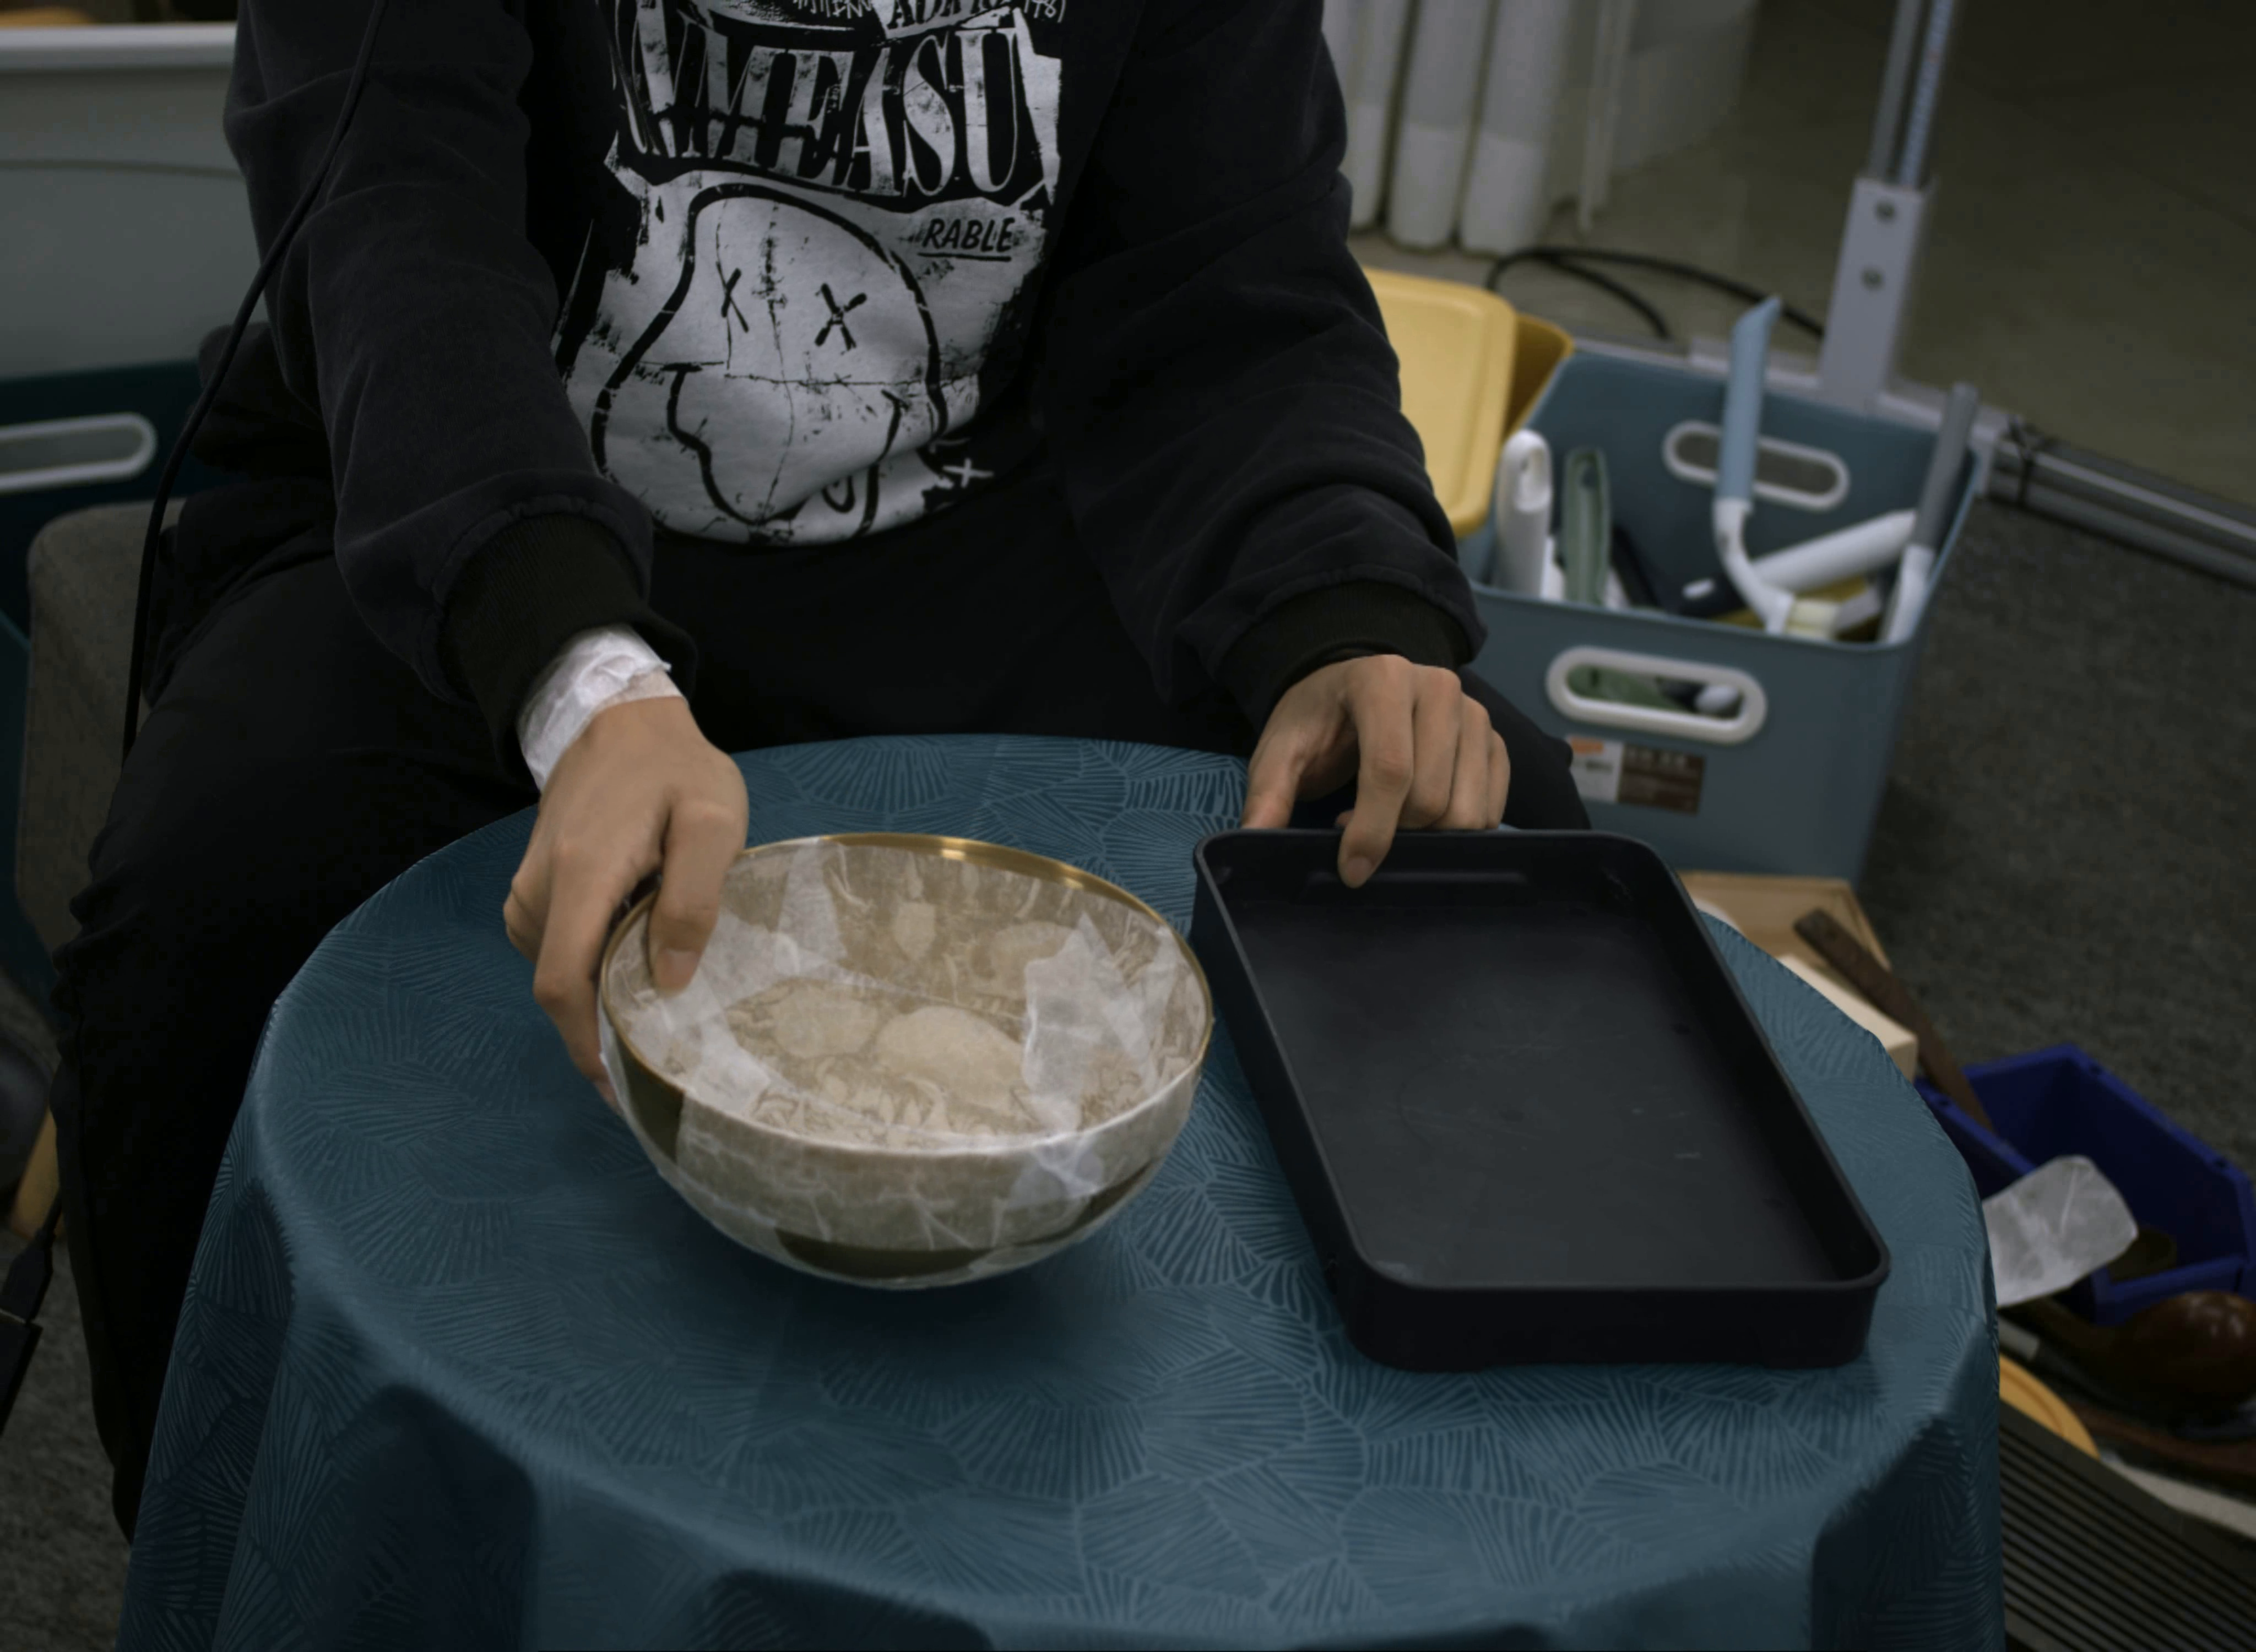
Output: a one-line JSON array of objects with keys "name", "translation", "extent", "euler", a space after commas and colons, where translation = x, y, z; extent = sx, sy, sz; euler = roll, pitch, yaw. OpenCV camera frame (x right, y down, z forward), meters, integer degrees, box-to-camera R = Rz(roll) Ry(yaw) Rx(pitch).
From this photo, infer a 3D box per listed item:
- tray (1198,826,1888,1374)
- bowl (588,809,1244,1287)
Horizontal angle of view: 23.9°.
[{"name": "tray", "translation": [0.136, 0.090, 1.858], "extent": [0.183, 0.037, 0.320], "euler": [2, 27, -11]}, {"name": "bowl", "translation": [-0.073, 0.086, 1.737], "extent": [0.214, 0.094, 0.216], "euler": [3, 29, -2]}]
